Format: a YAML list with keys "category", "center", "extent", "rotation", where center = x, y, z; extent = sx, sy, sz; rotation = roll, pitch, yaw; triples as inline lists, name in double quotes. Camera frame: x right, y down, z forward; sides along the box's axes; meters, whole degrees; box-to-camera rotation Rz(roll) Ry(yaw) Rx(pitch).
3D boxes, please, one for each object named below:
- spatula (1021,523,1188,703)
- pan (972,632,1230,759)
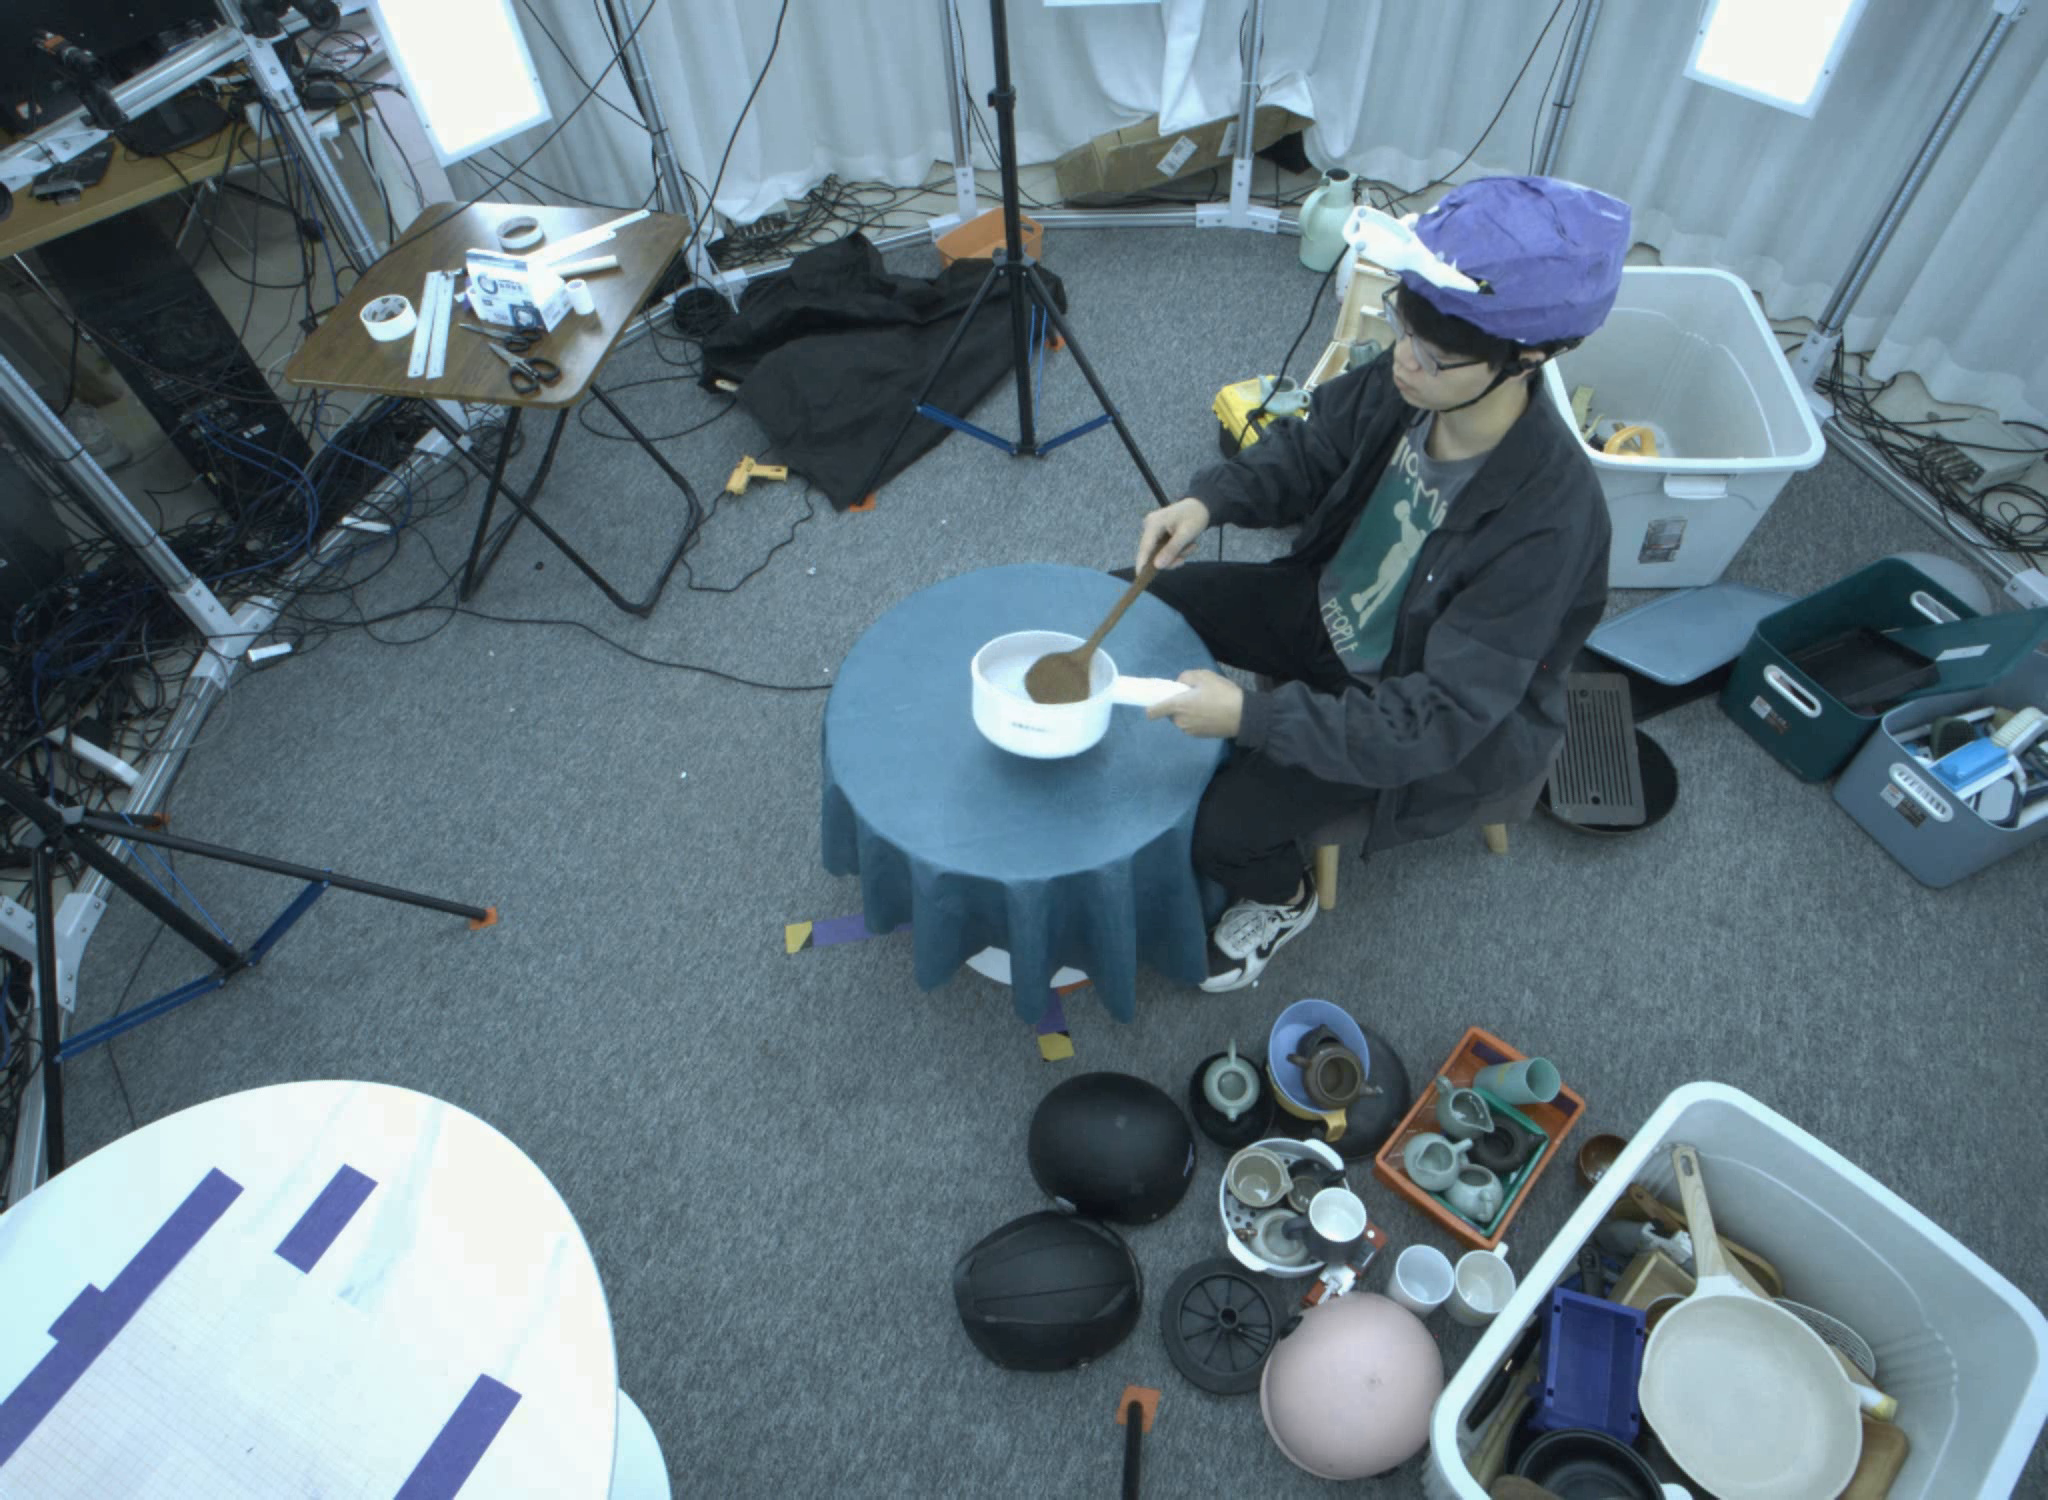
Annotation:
- category: "spatula"
  center: [0.128, -0.196, 1.744]
  extent: [0.097, 0.015, 0.387]
  rotation: [44, 66, -11]
- category: "pan"
  center: [0.101, -0.060, 1.704]
  extent: [0.354, 0.103, 0.200]
  rotation: [9, 35, 1]
